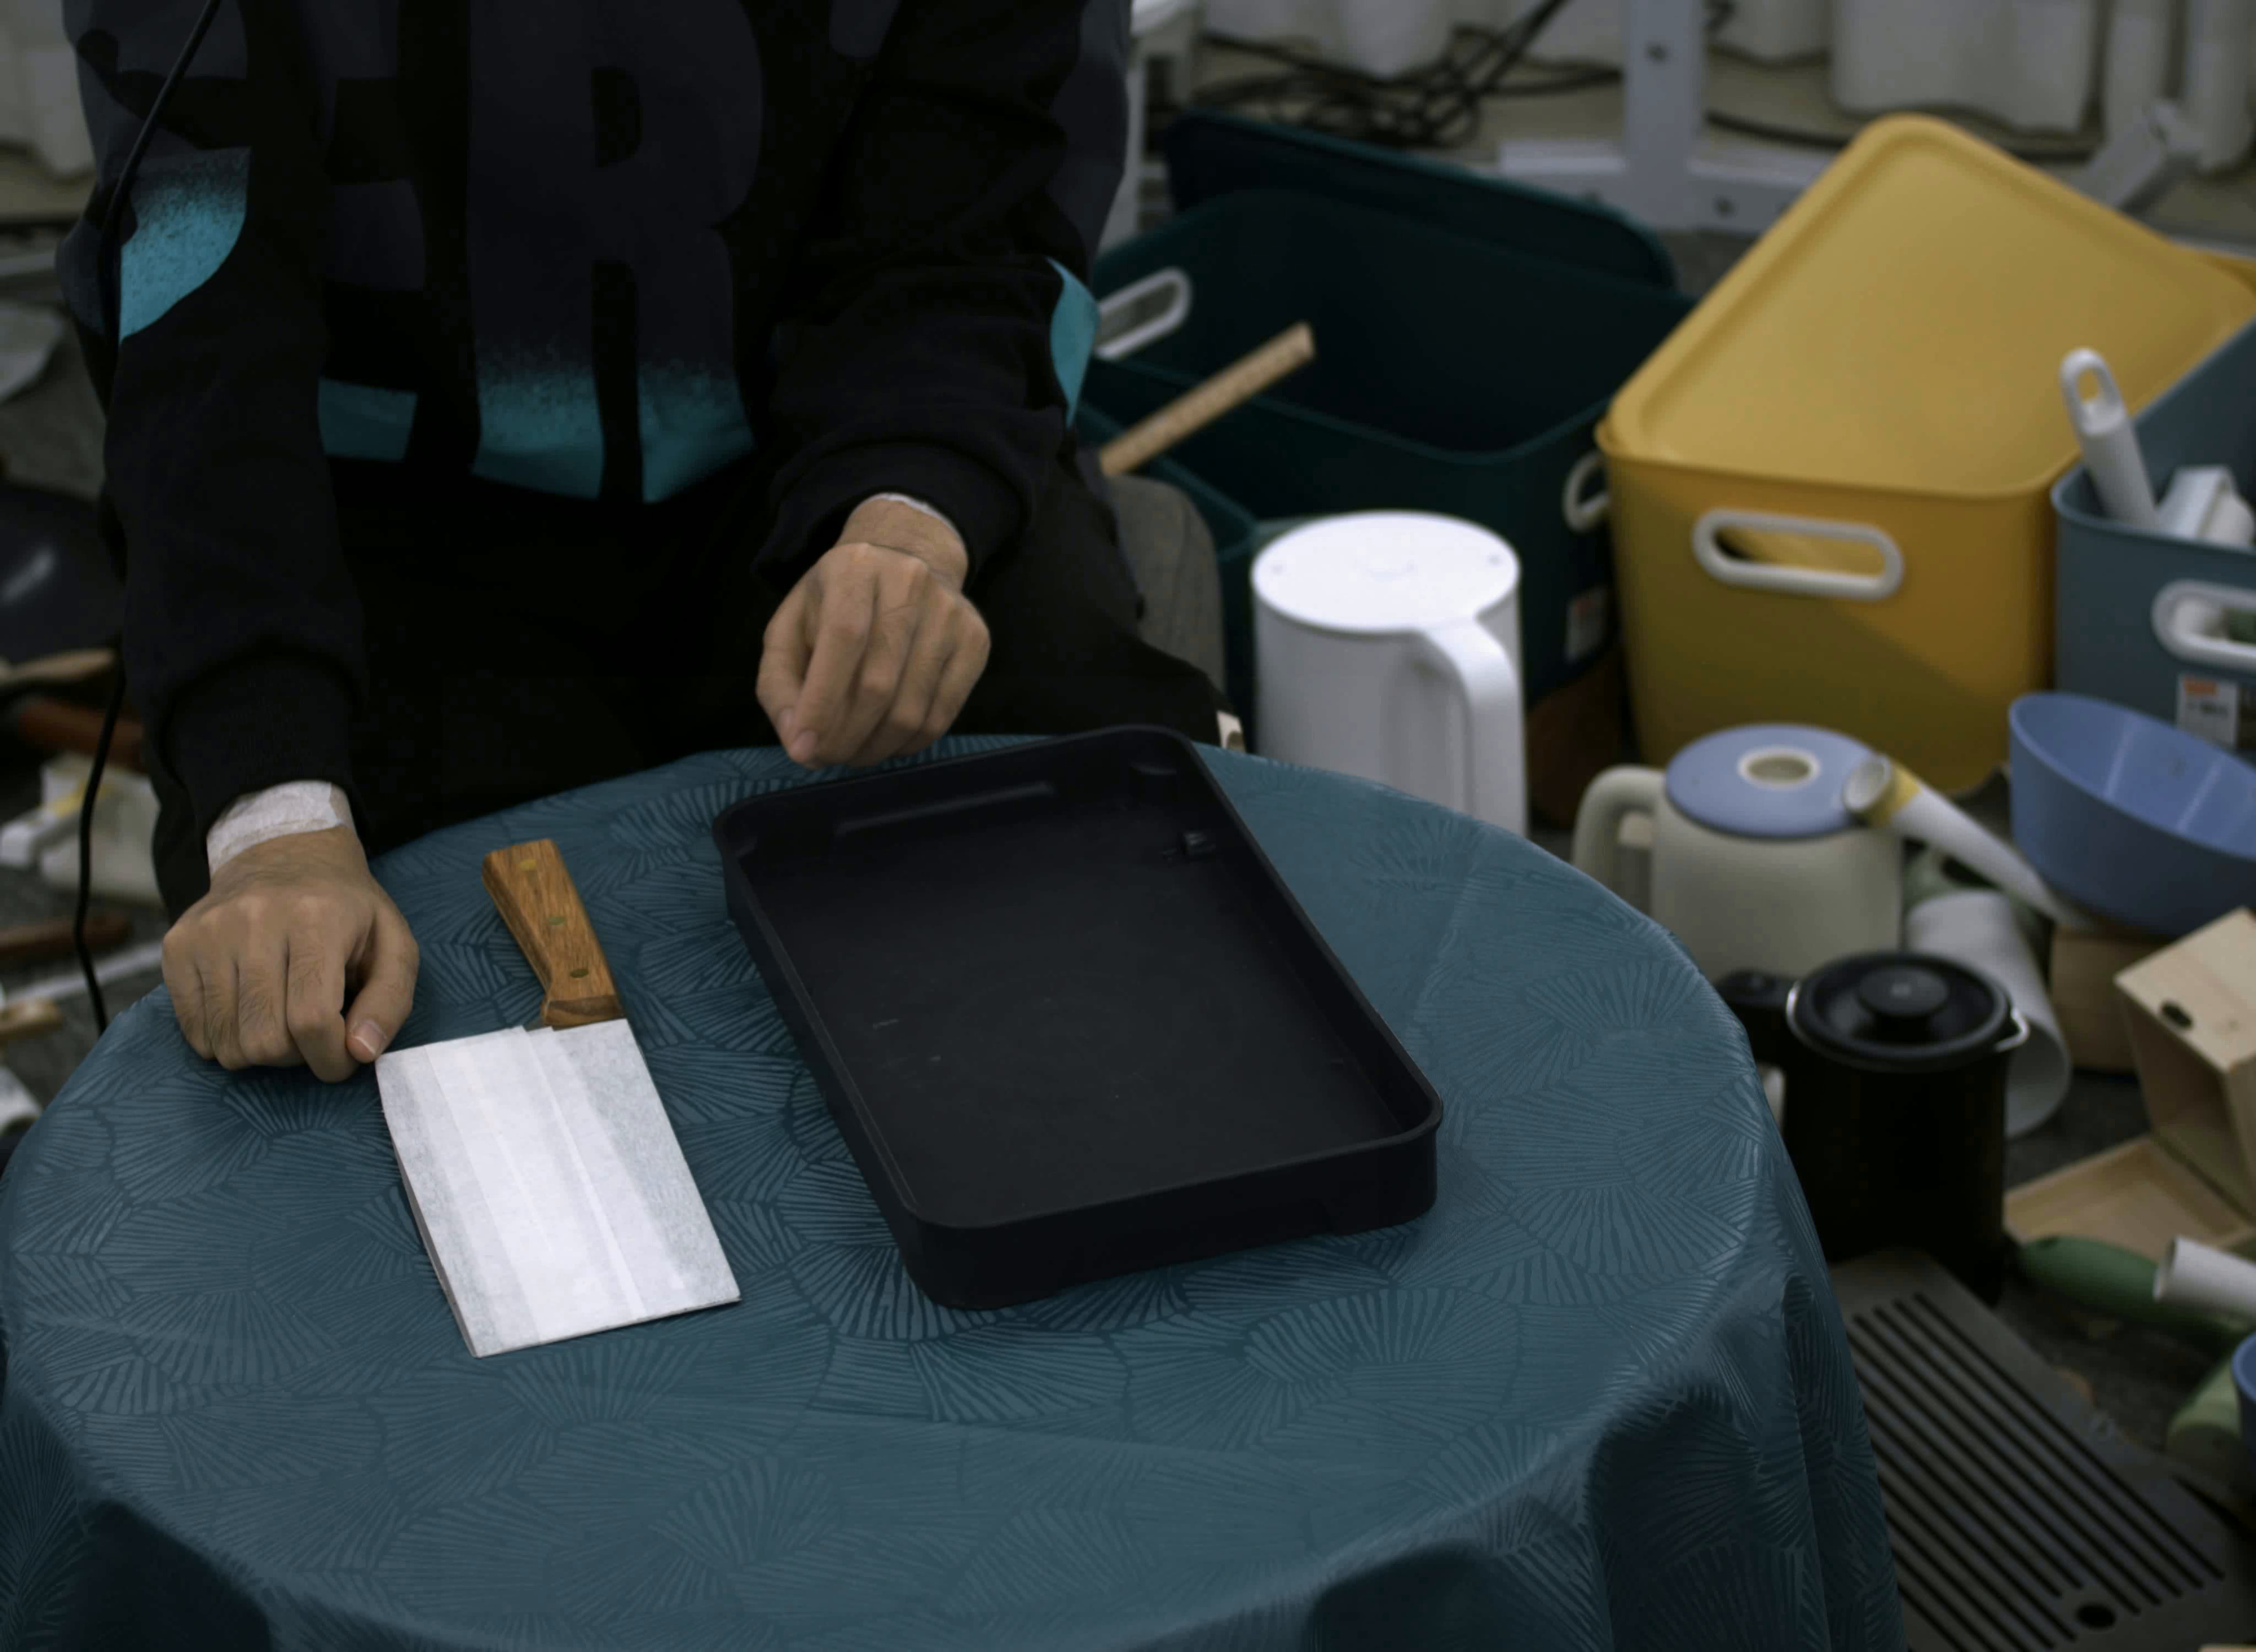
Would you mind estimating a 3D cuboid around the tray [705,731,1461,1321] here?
[{"bbox_3d":[-0.021,0.062,1.939,0.184,0.036,0.321,-12,28,-15],"label":"tray"}]

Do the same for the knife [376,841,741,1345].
[{"bbox_3d":[-0.208,0.090,1.928,0.093,0.021,0.309,-11,31,-12],"label":"knife"}]
